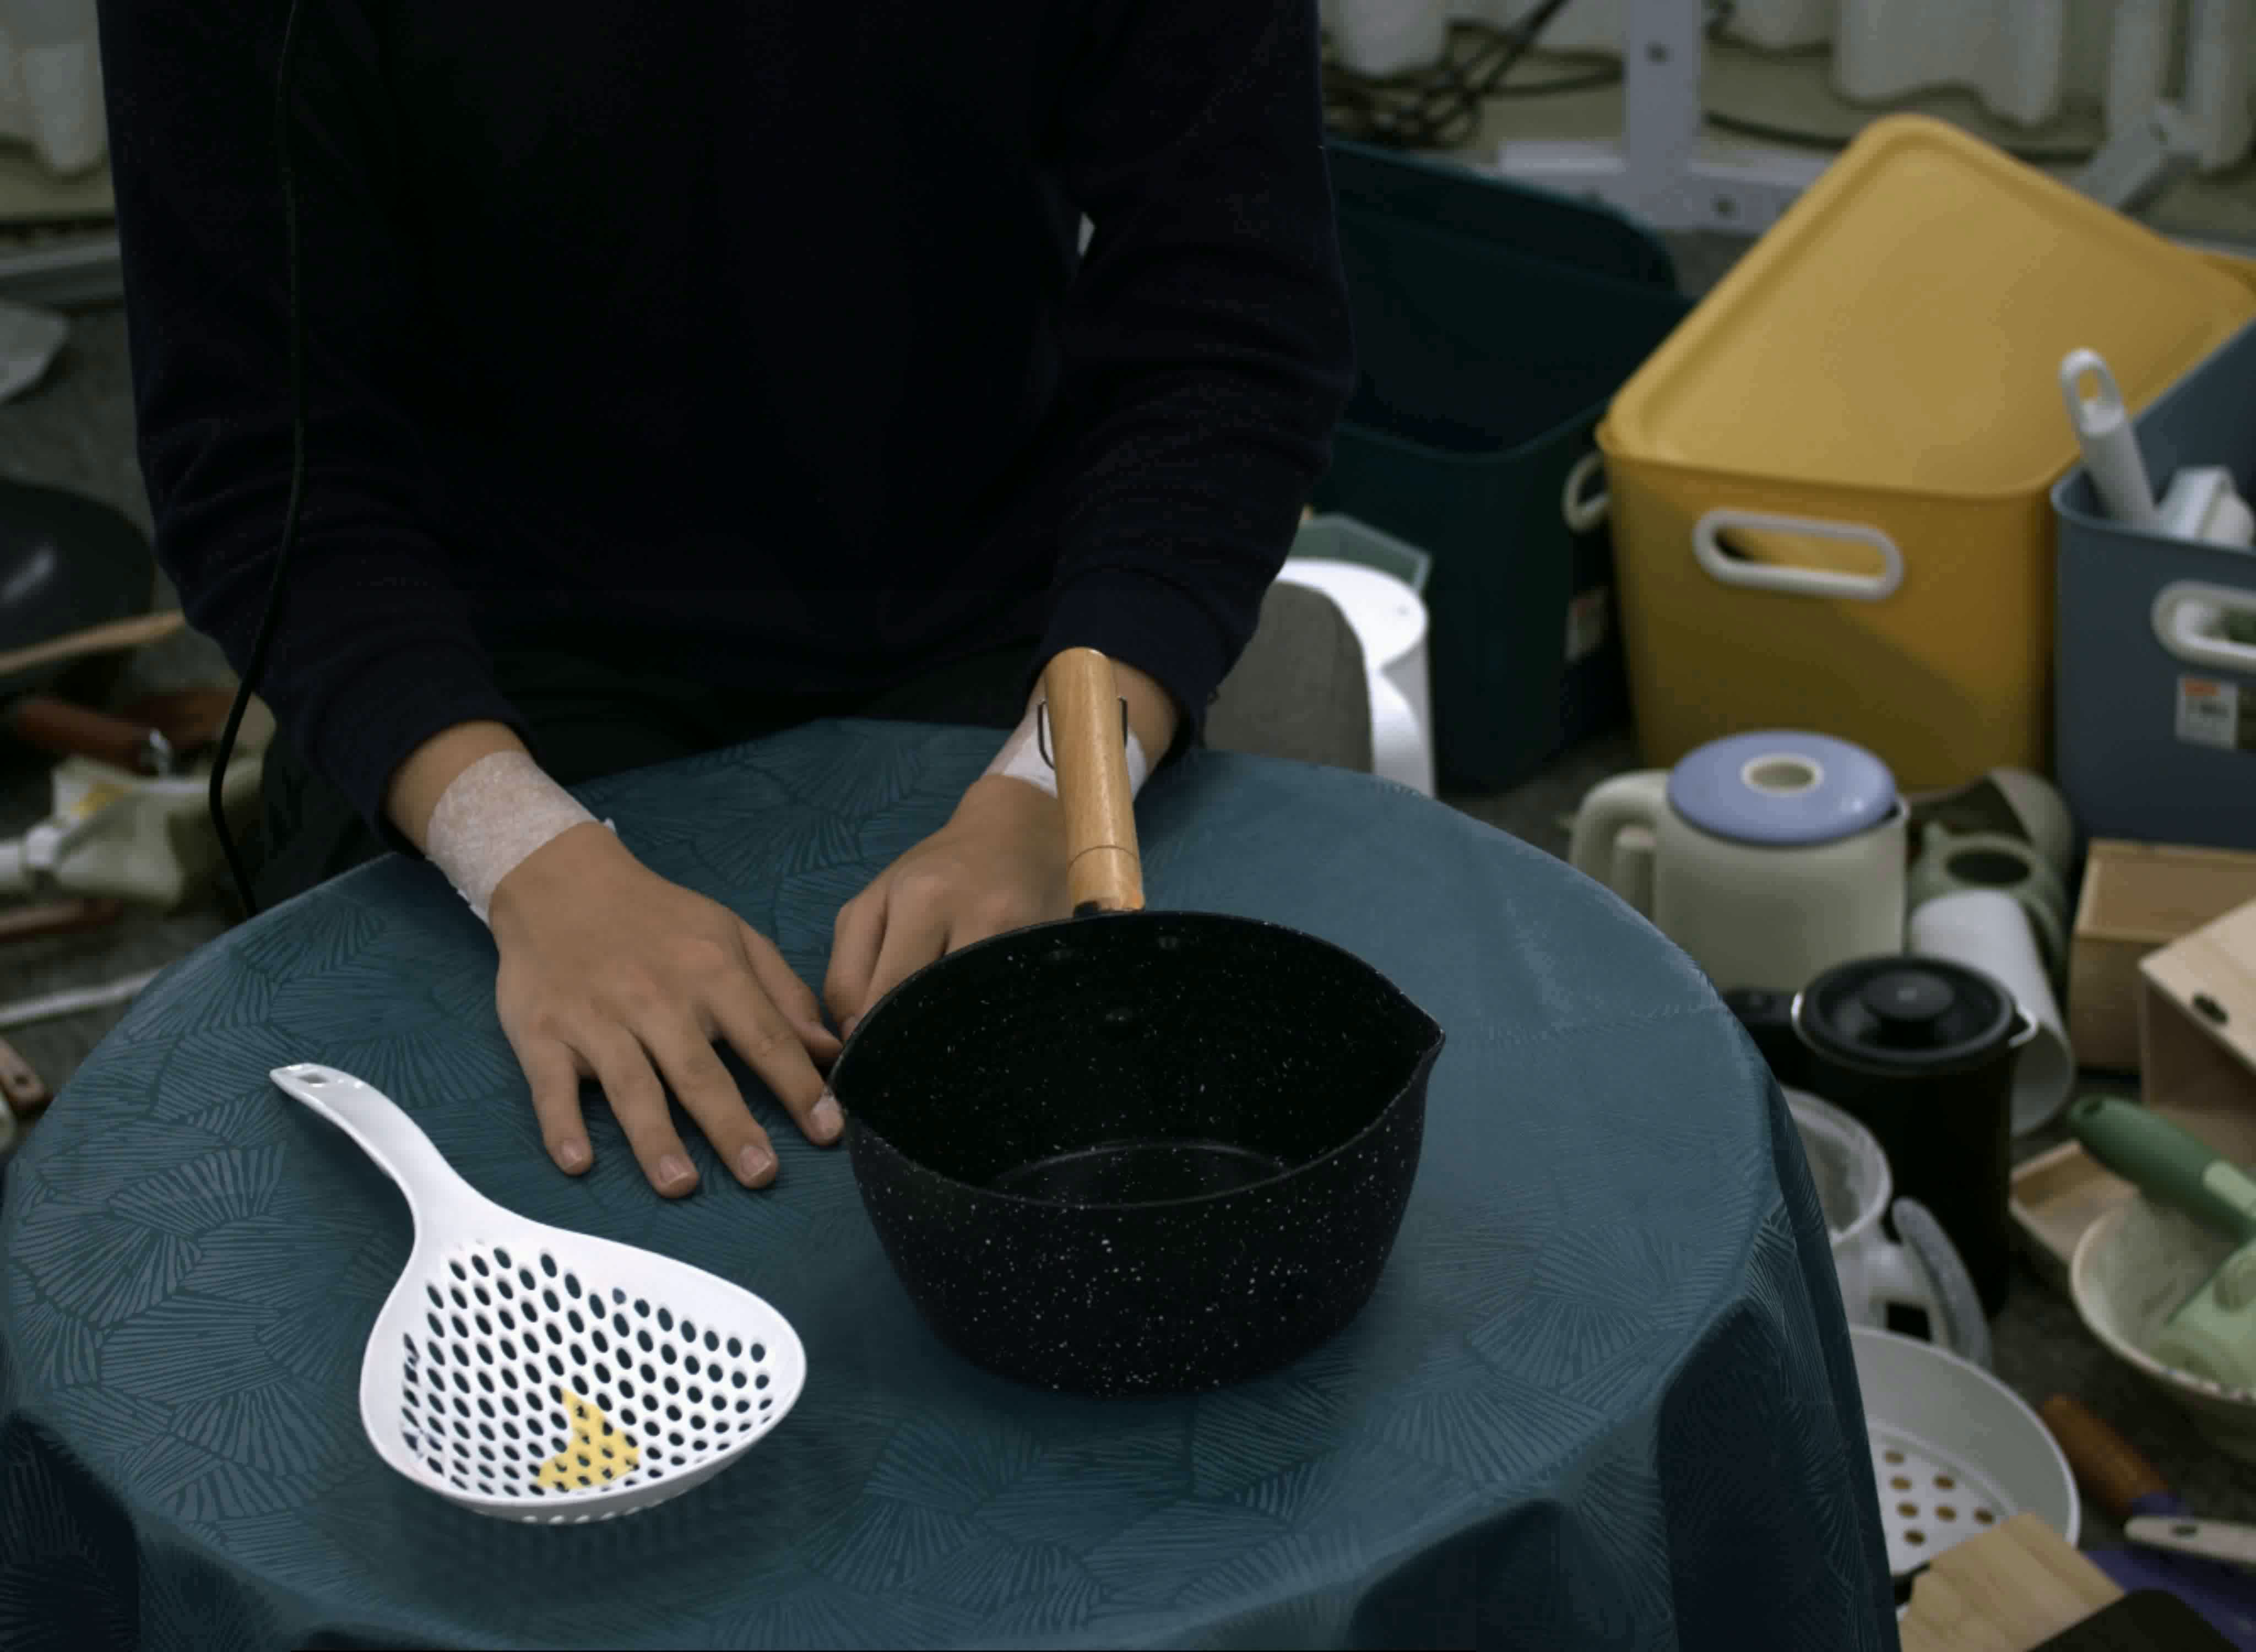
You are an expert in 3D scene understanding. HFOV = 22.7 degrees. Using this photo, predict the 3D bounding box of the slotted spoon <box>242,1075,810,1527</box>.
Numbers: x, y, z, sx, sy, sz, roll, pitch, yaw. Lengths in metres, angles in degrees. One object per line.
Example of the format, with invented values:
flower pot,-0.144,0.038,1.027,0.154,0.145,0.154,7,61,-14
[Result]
slotted spoon,-0.215,0.139,1.804,0.137,0.050,0.350,-17,32,-22

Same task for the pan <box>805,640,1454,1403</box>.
pan,-0.004,0.061,1.864,0.207,0.107,0.348,-6,29,-3
